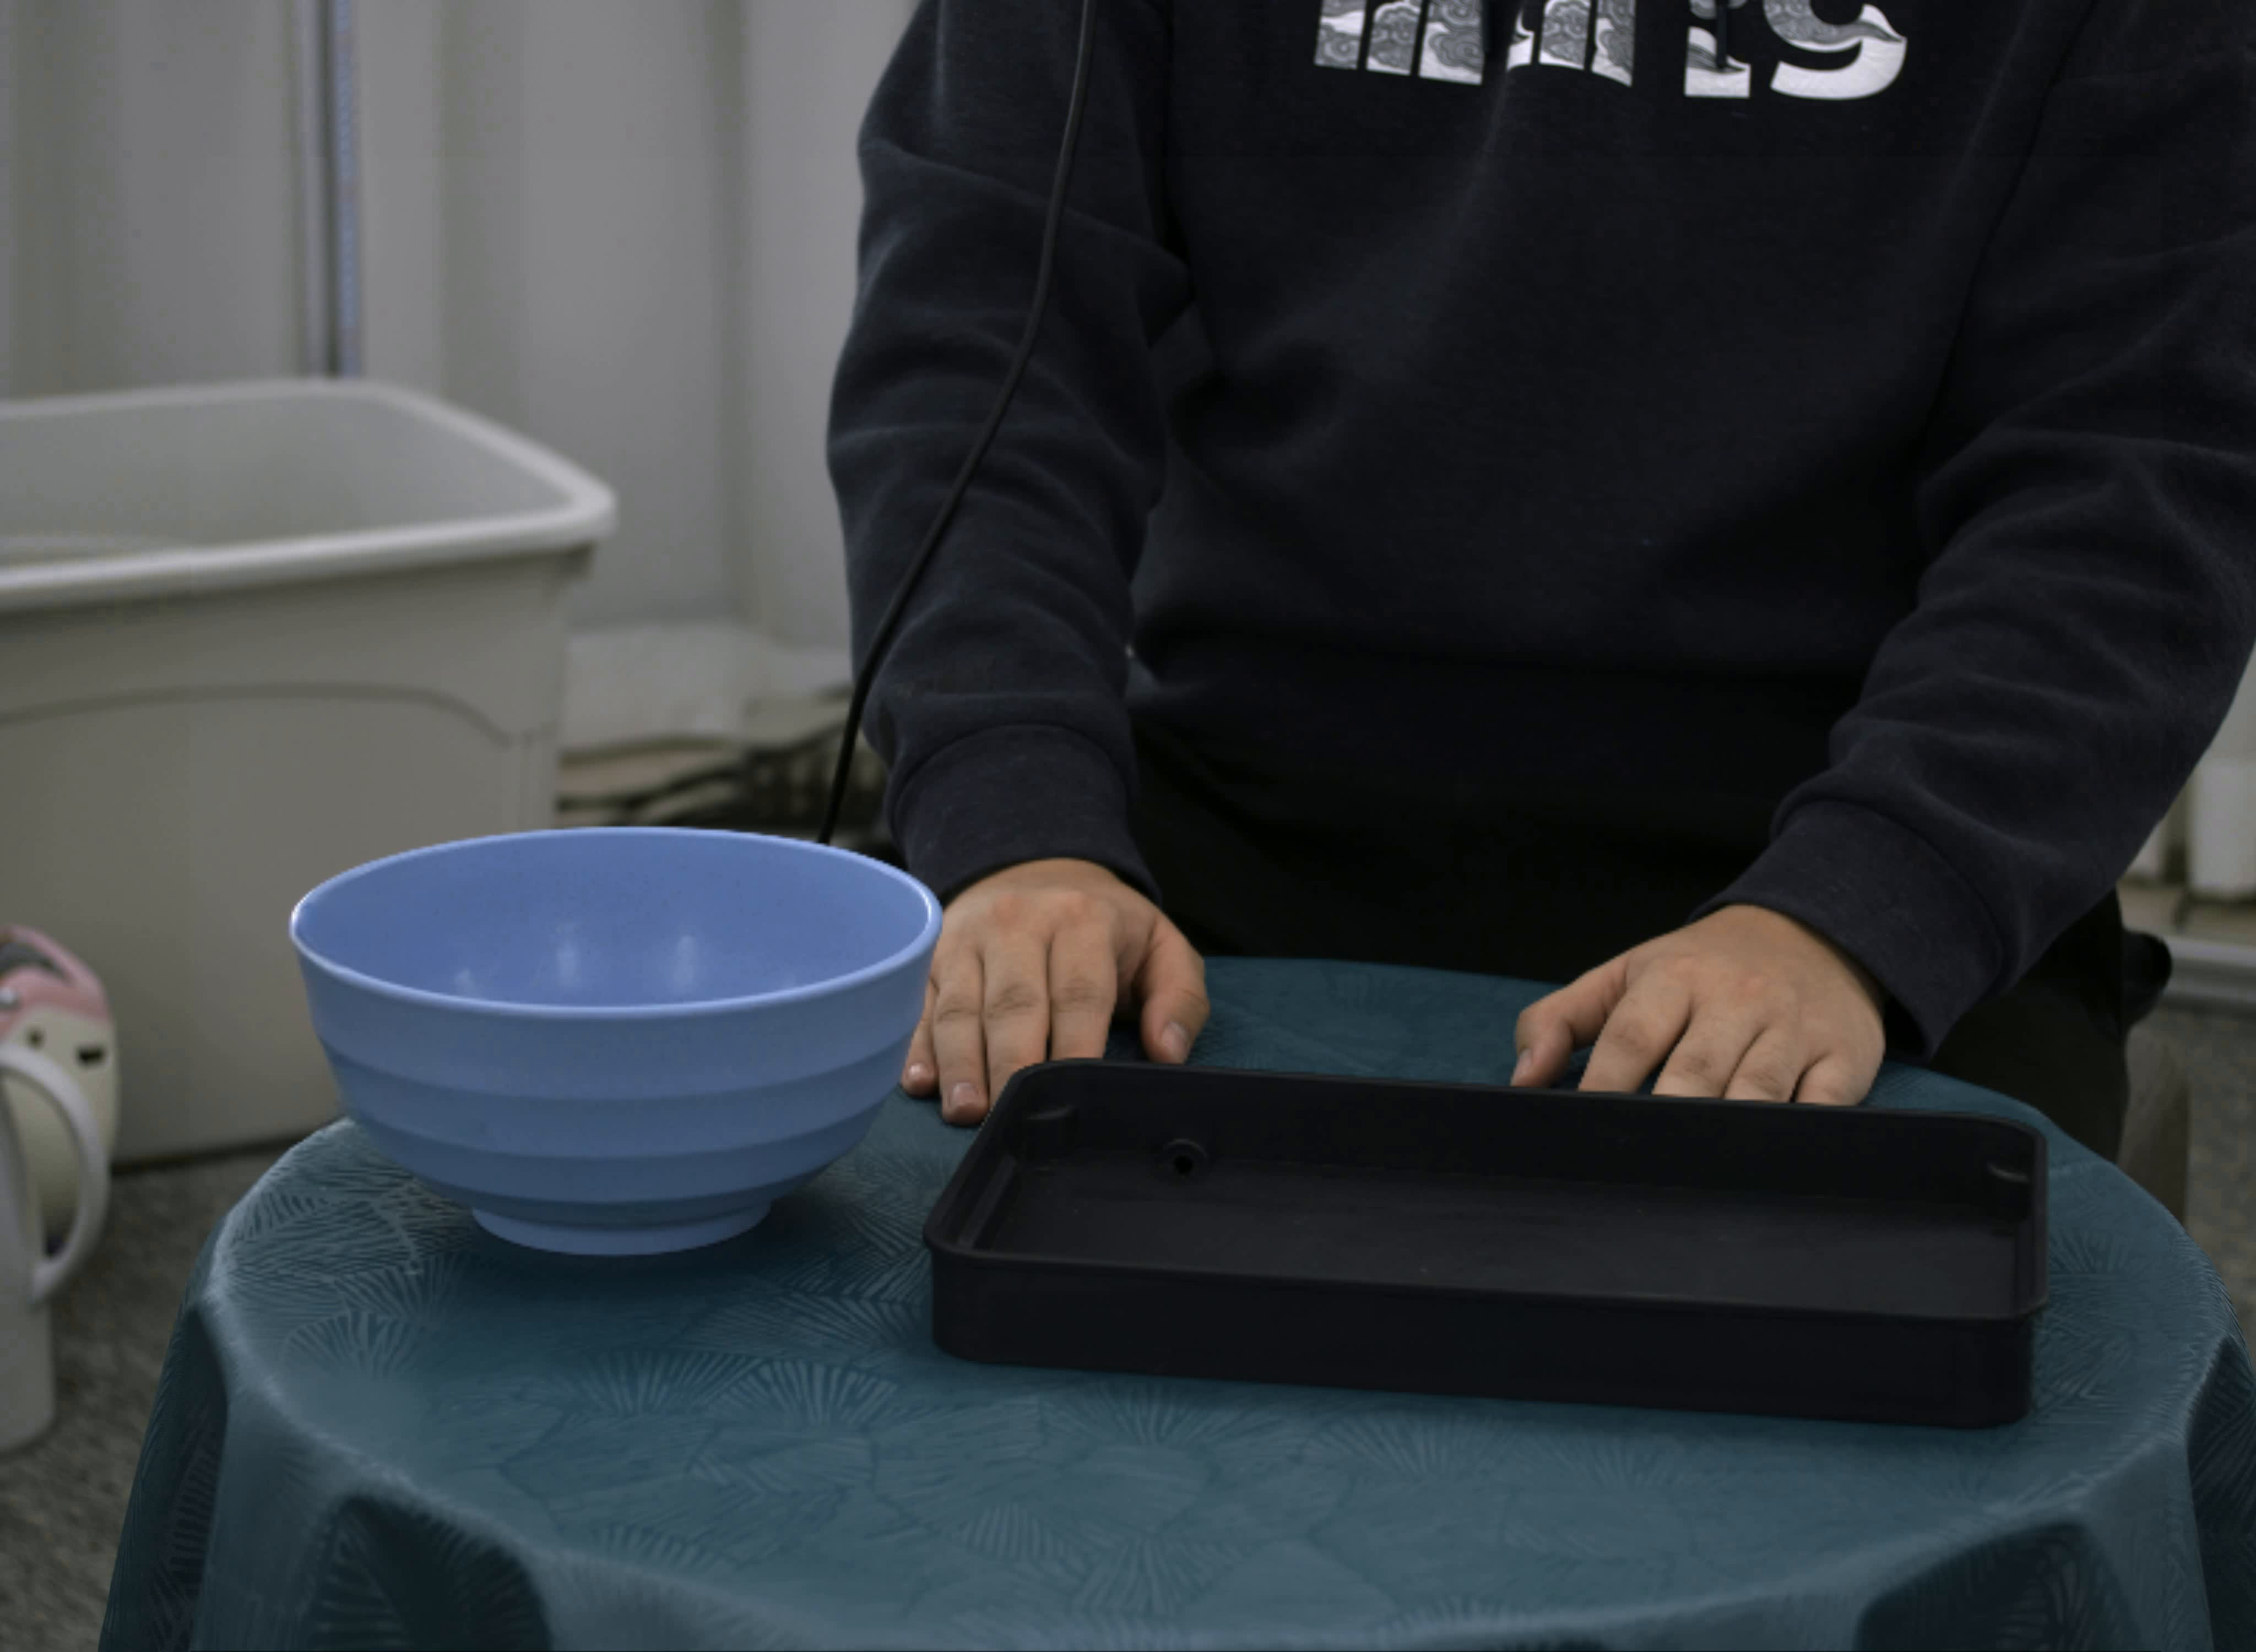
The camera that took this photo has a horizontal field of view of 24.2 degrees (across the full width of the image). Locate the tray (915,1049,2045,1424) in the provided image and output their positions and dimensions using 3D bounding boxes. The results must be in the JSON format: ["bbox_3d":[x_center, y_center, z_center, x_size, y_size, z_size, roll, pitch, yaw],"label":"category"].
[{"bbox_3d":[0.107,0.117,1.542,0.316,0.037,0.184,3,15,8],"label":"tray"}]

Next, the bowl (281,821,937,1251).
[{"bbox_3d":[-0.154,0.069,1.591,0.196,0.096,0.195,-1,16,1],"label":"bowl"}]
